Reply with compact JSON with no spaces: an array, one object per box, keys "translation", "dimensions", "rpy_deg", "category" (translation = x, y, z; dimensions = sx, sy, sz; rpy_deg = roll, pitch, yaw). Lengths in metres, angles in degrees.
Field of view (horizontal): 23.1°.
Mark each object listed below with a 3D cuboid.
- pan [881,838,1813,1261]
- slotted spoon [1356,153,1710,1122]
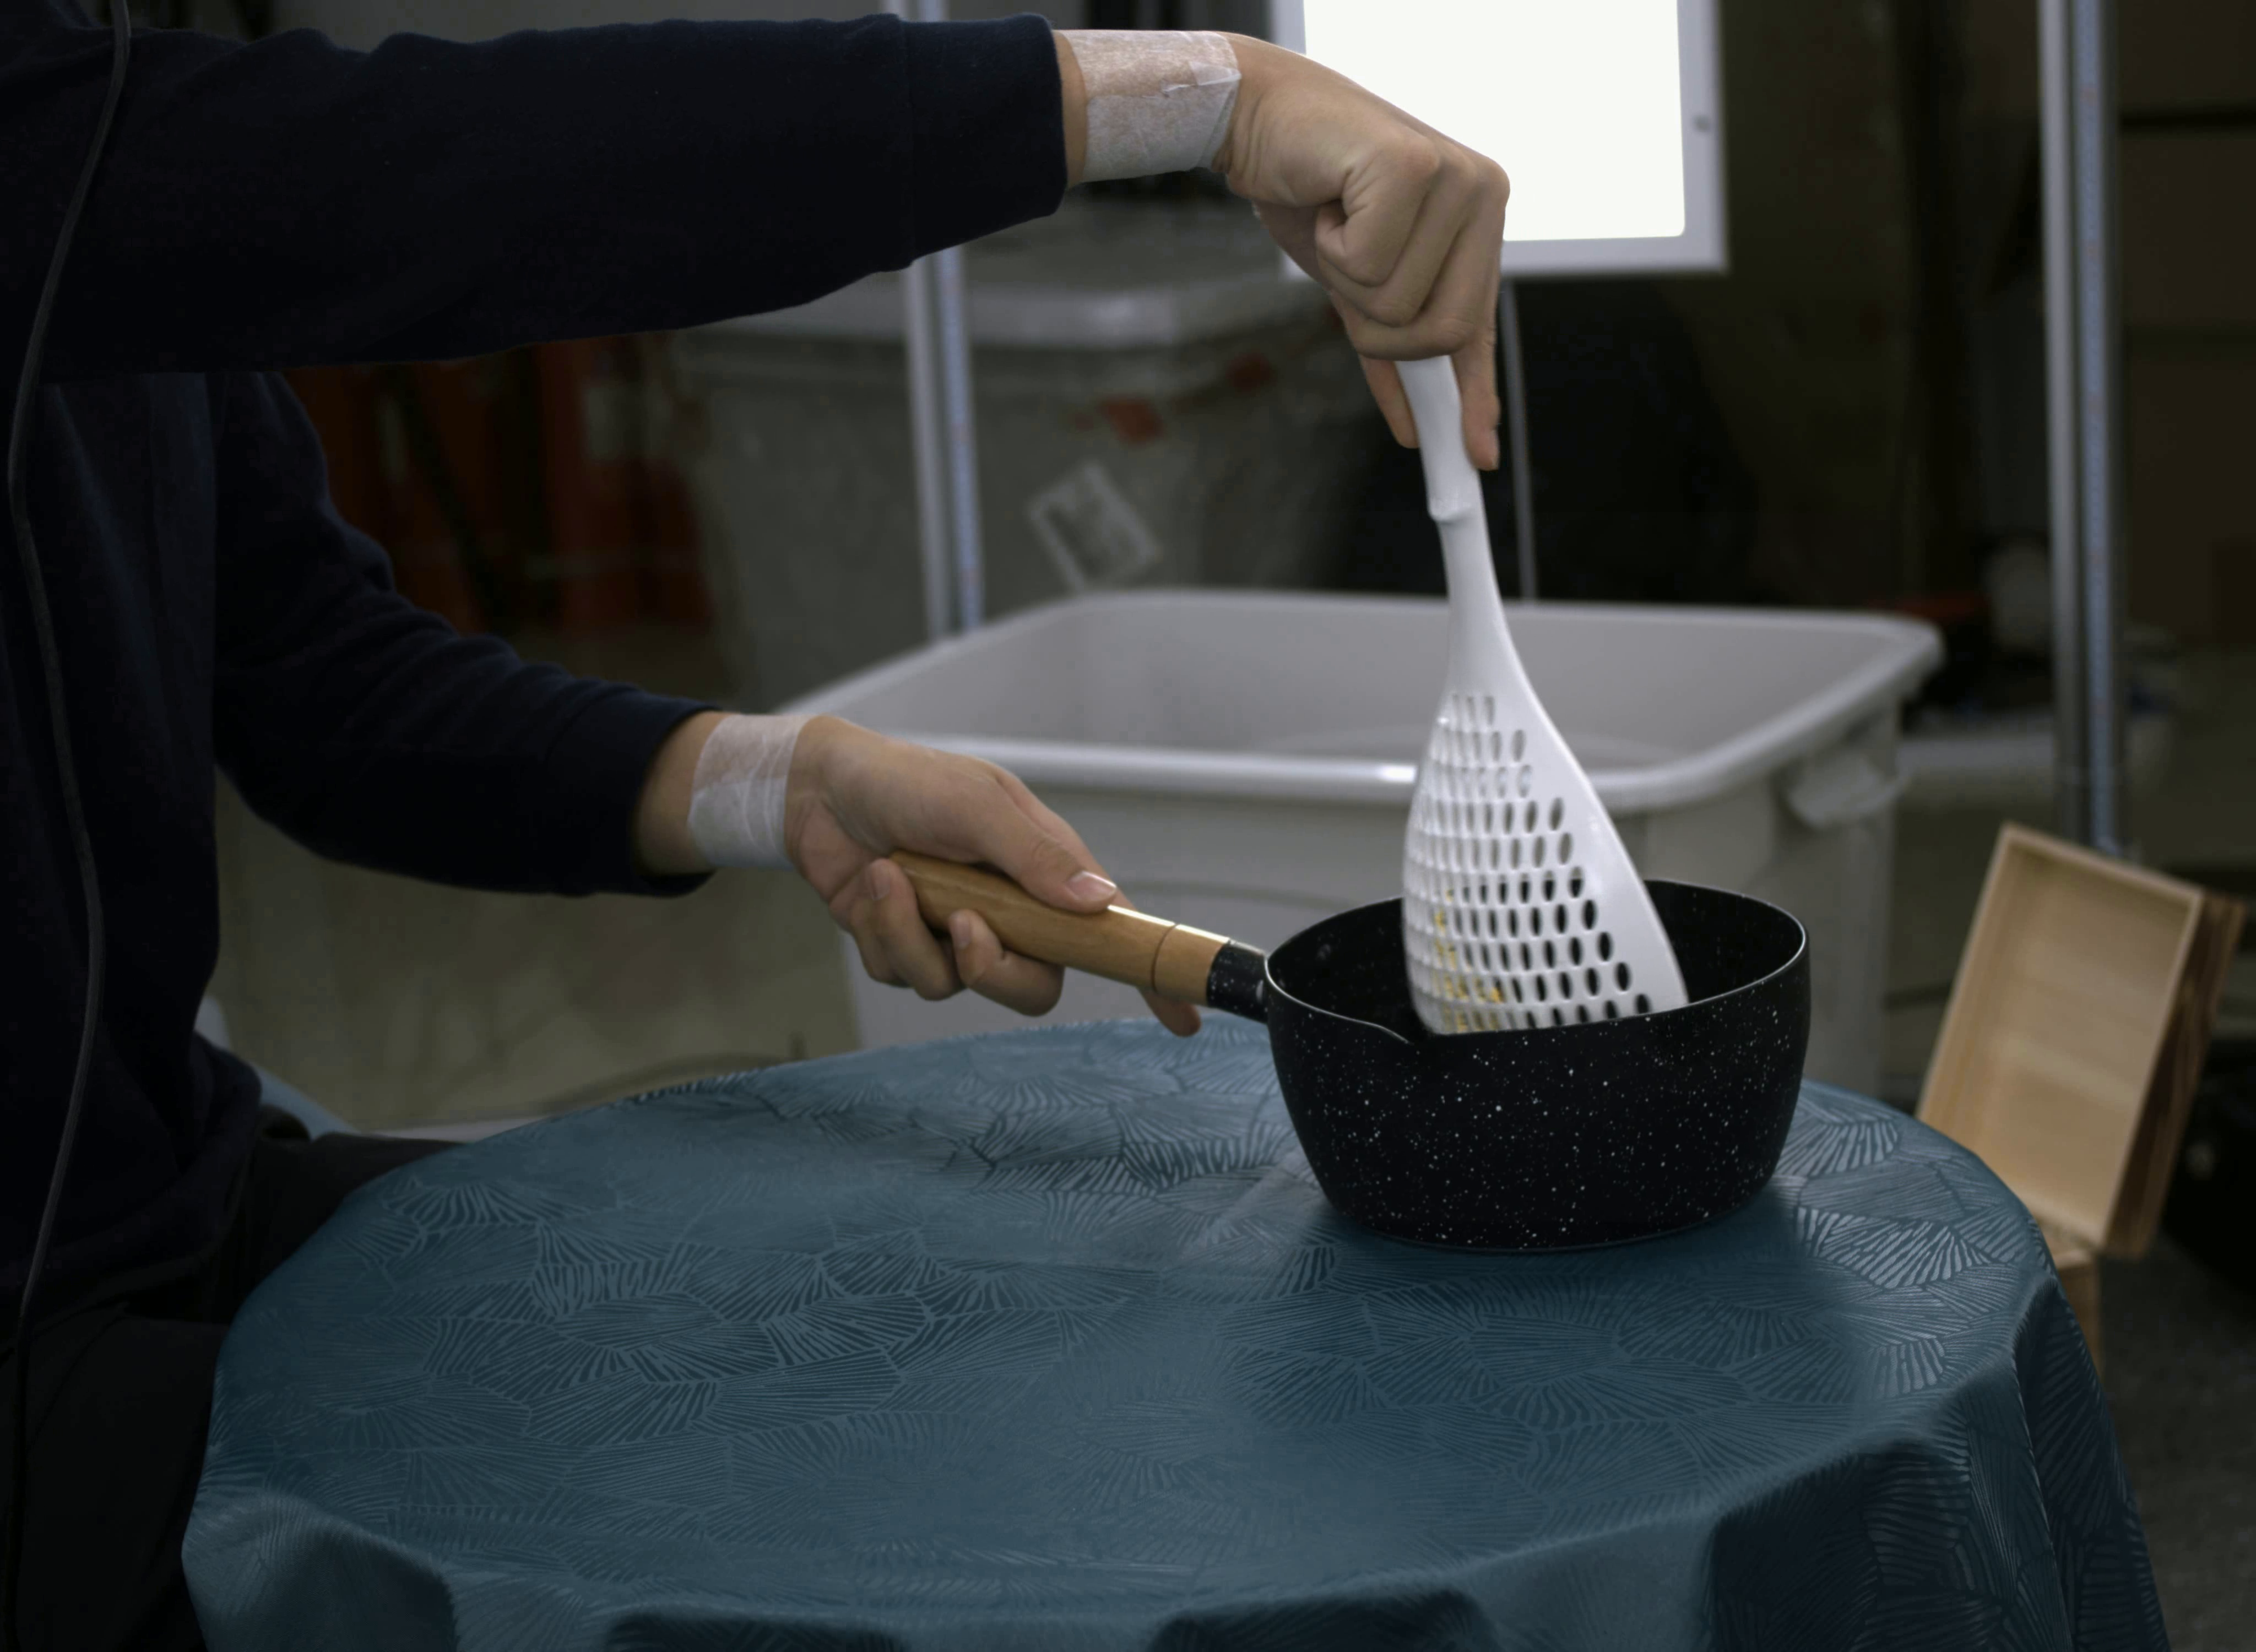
[{"translation":[0.068,0.067,1.887],"dimensions":[0.349,0.108,0.203],"rpy_deg":[3,17,27],"category":"pan"},{"translation":[0.113,-0.050,1.787],"dimensions":[0.049,0.349,0.139],"rpy_deg":[-17,15,-33],"category":"slotted spoon"}]
